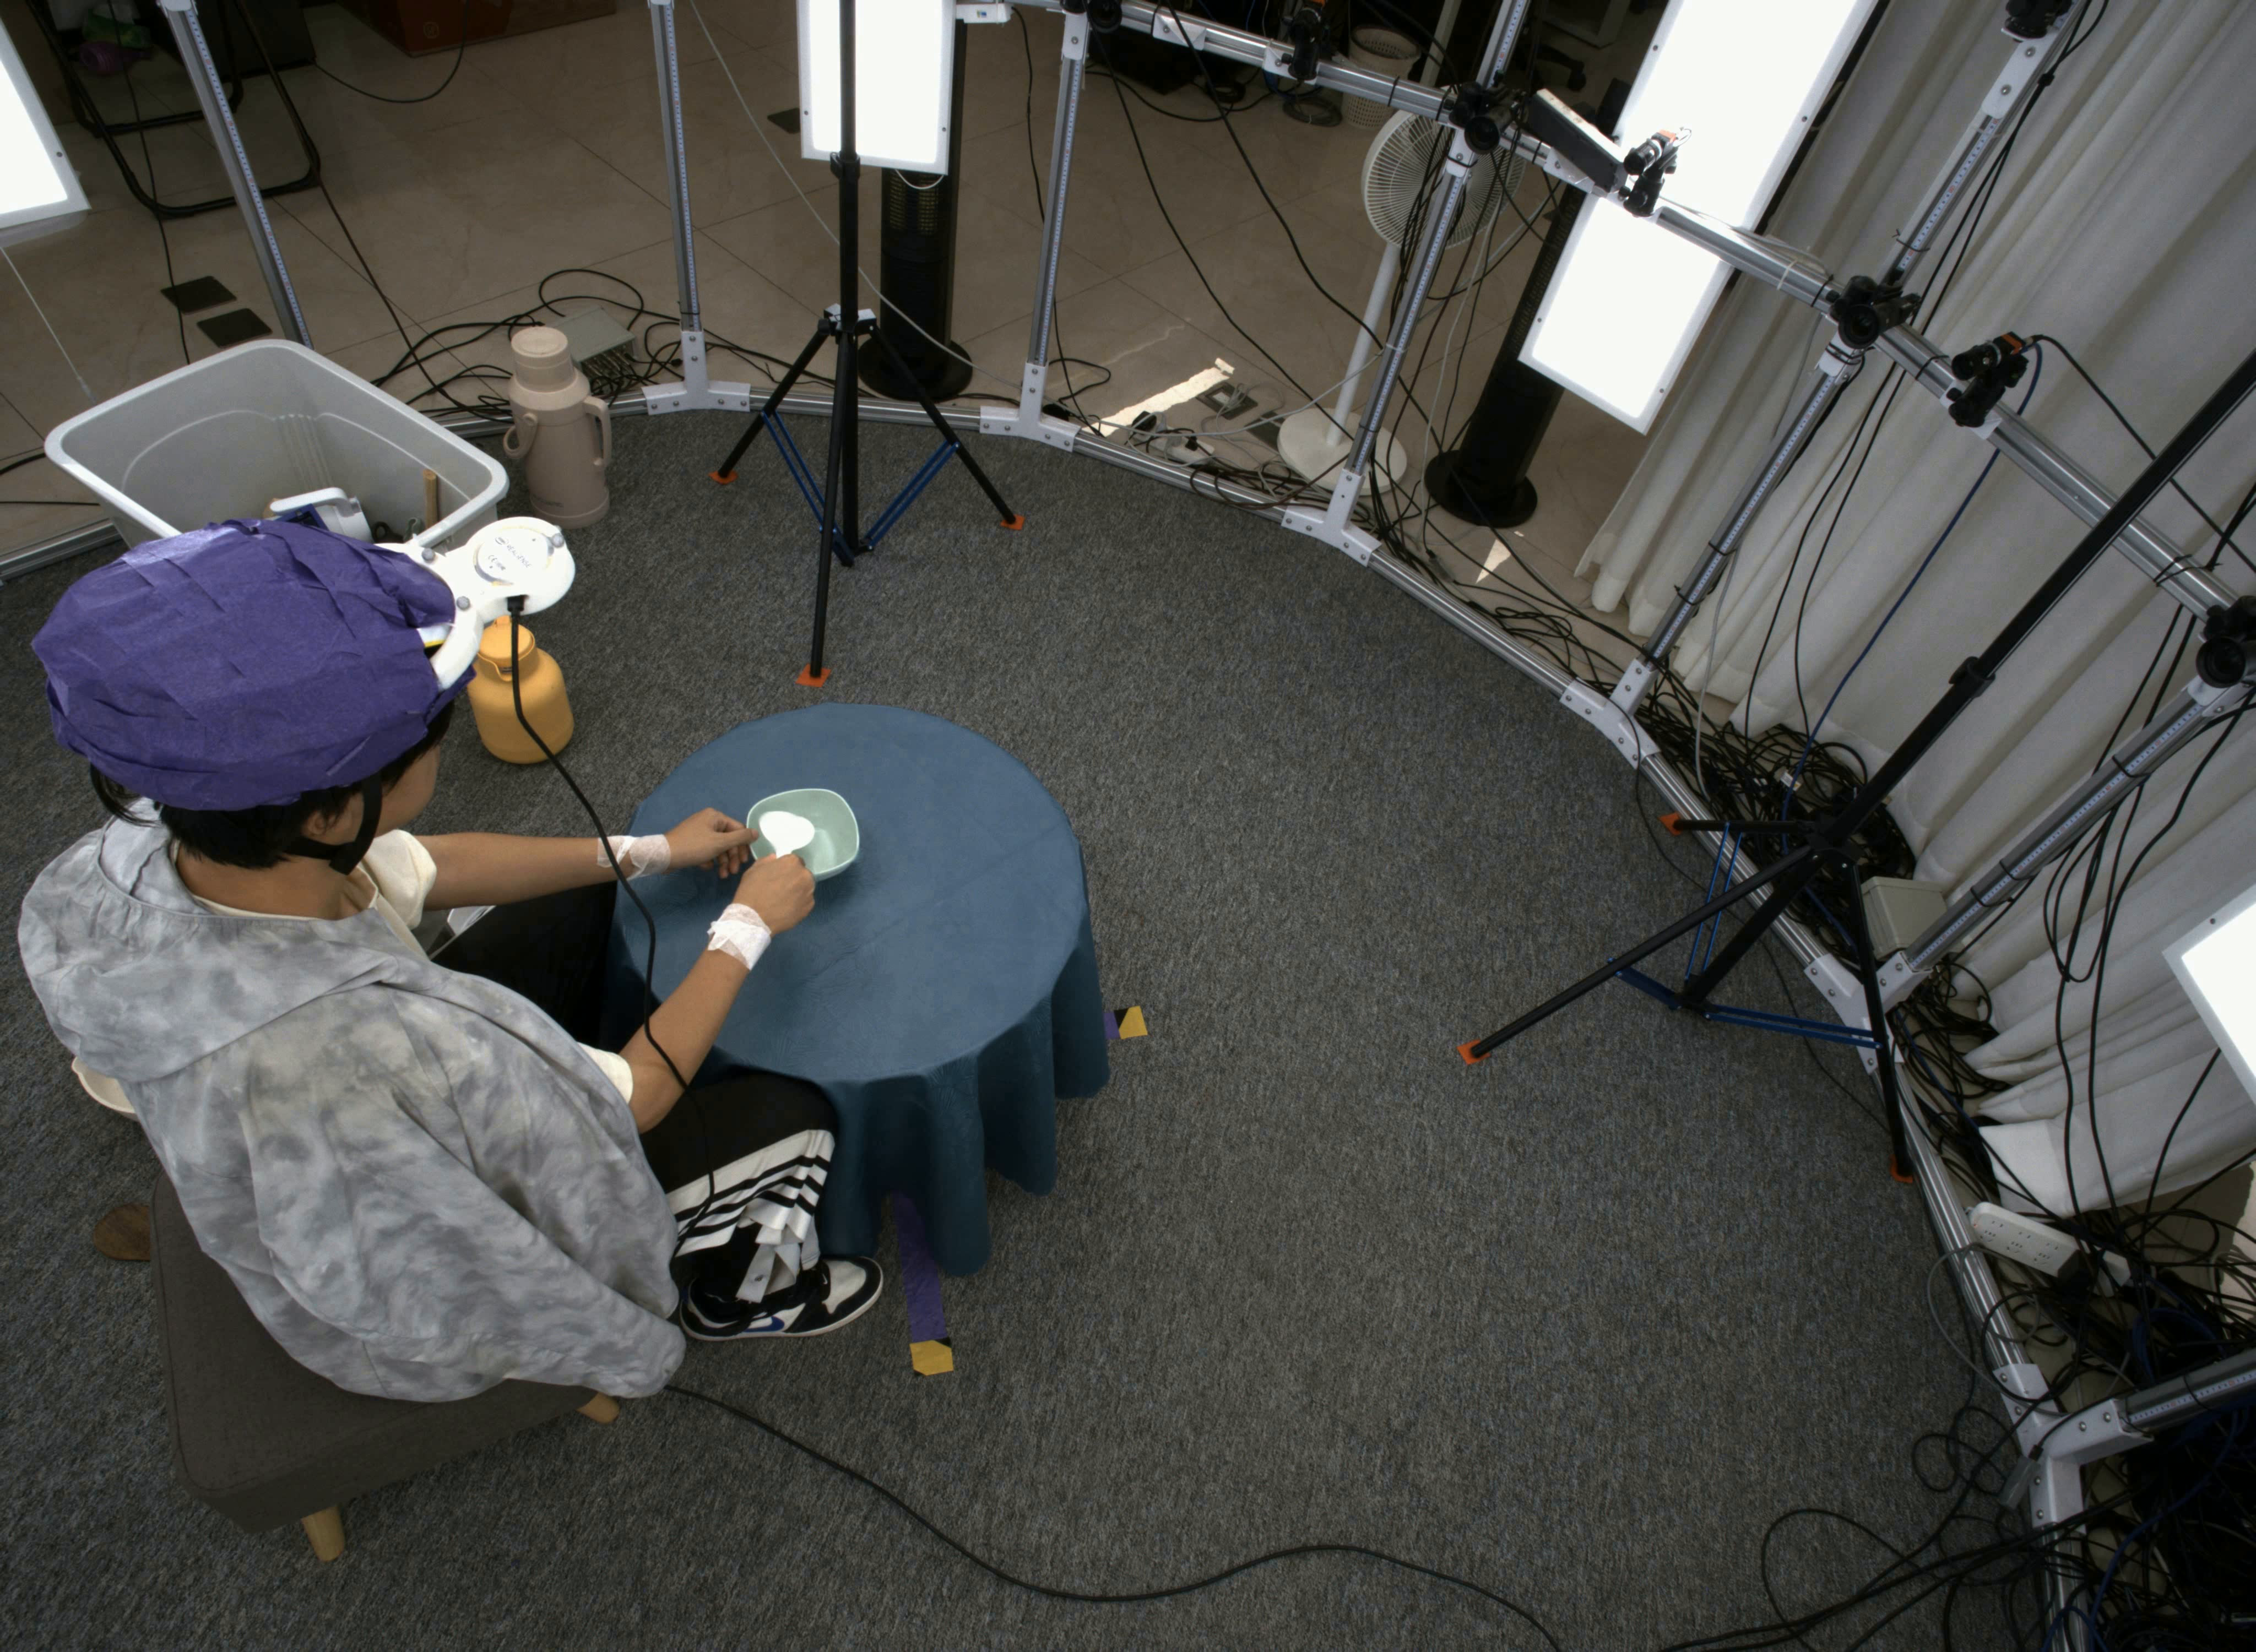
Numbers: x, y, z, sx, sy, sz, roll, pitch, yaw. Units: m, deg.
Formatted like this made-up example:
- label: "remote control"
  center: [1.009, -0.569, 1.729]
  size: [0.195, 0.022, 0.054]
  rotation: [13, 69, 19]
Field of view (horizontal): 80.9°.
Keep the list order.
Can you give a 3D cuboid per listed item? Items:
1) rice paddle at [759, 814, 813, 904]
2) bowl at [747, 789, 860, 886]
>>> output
- label: "rice paddle"
  center: [-0.424, 0.030, 1.592]
  size: [0.069, 0.030, 0.199]
  rotation: [14, 24, -18]
- label: "bowl"
  center: [-0.419, 0.024, 1.673]
  size: [0.151, 0.060, 0.149]
  rotation: [9, 52, -10]
